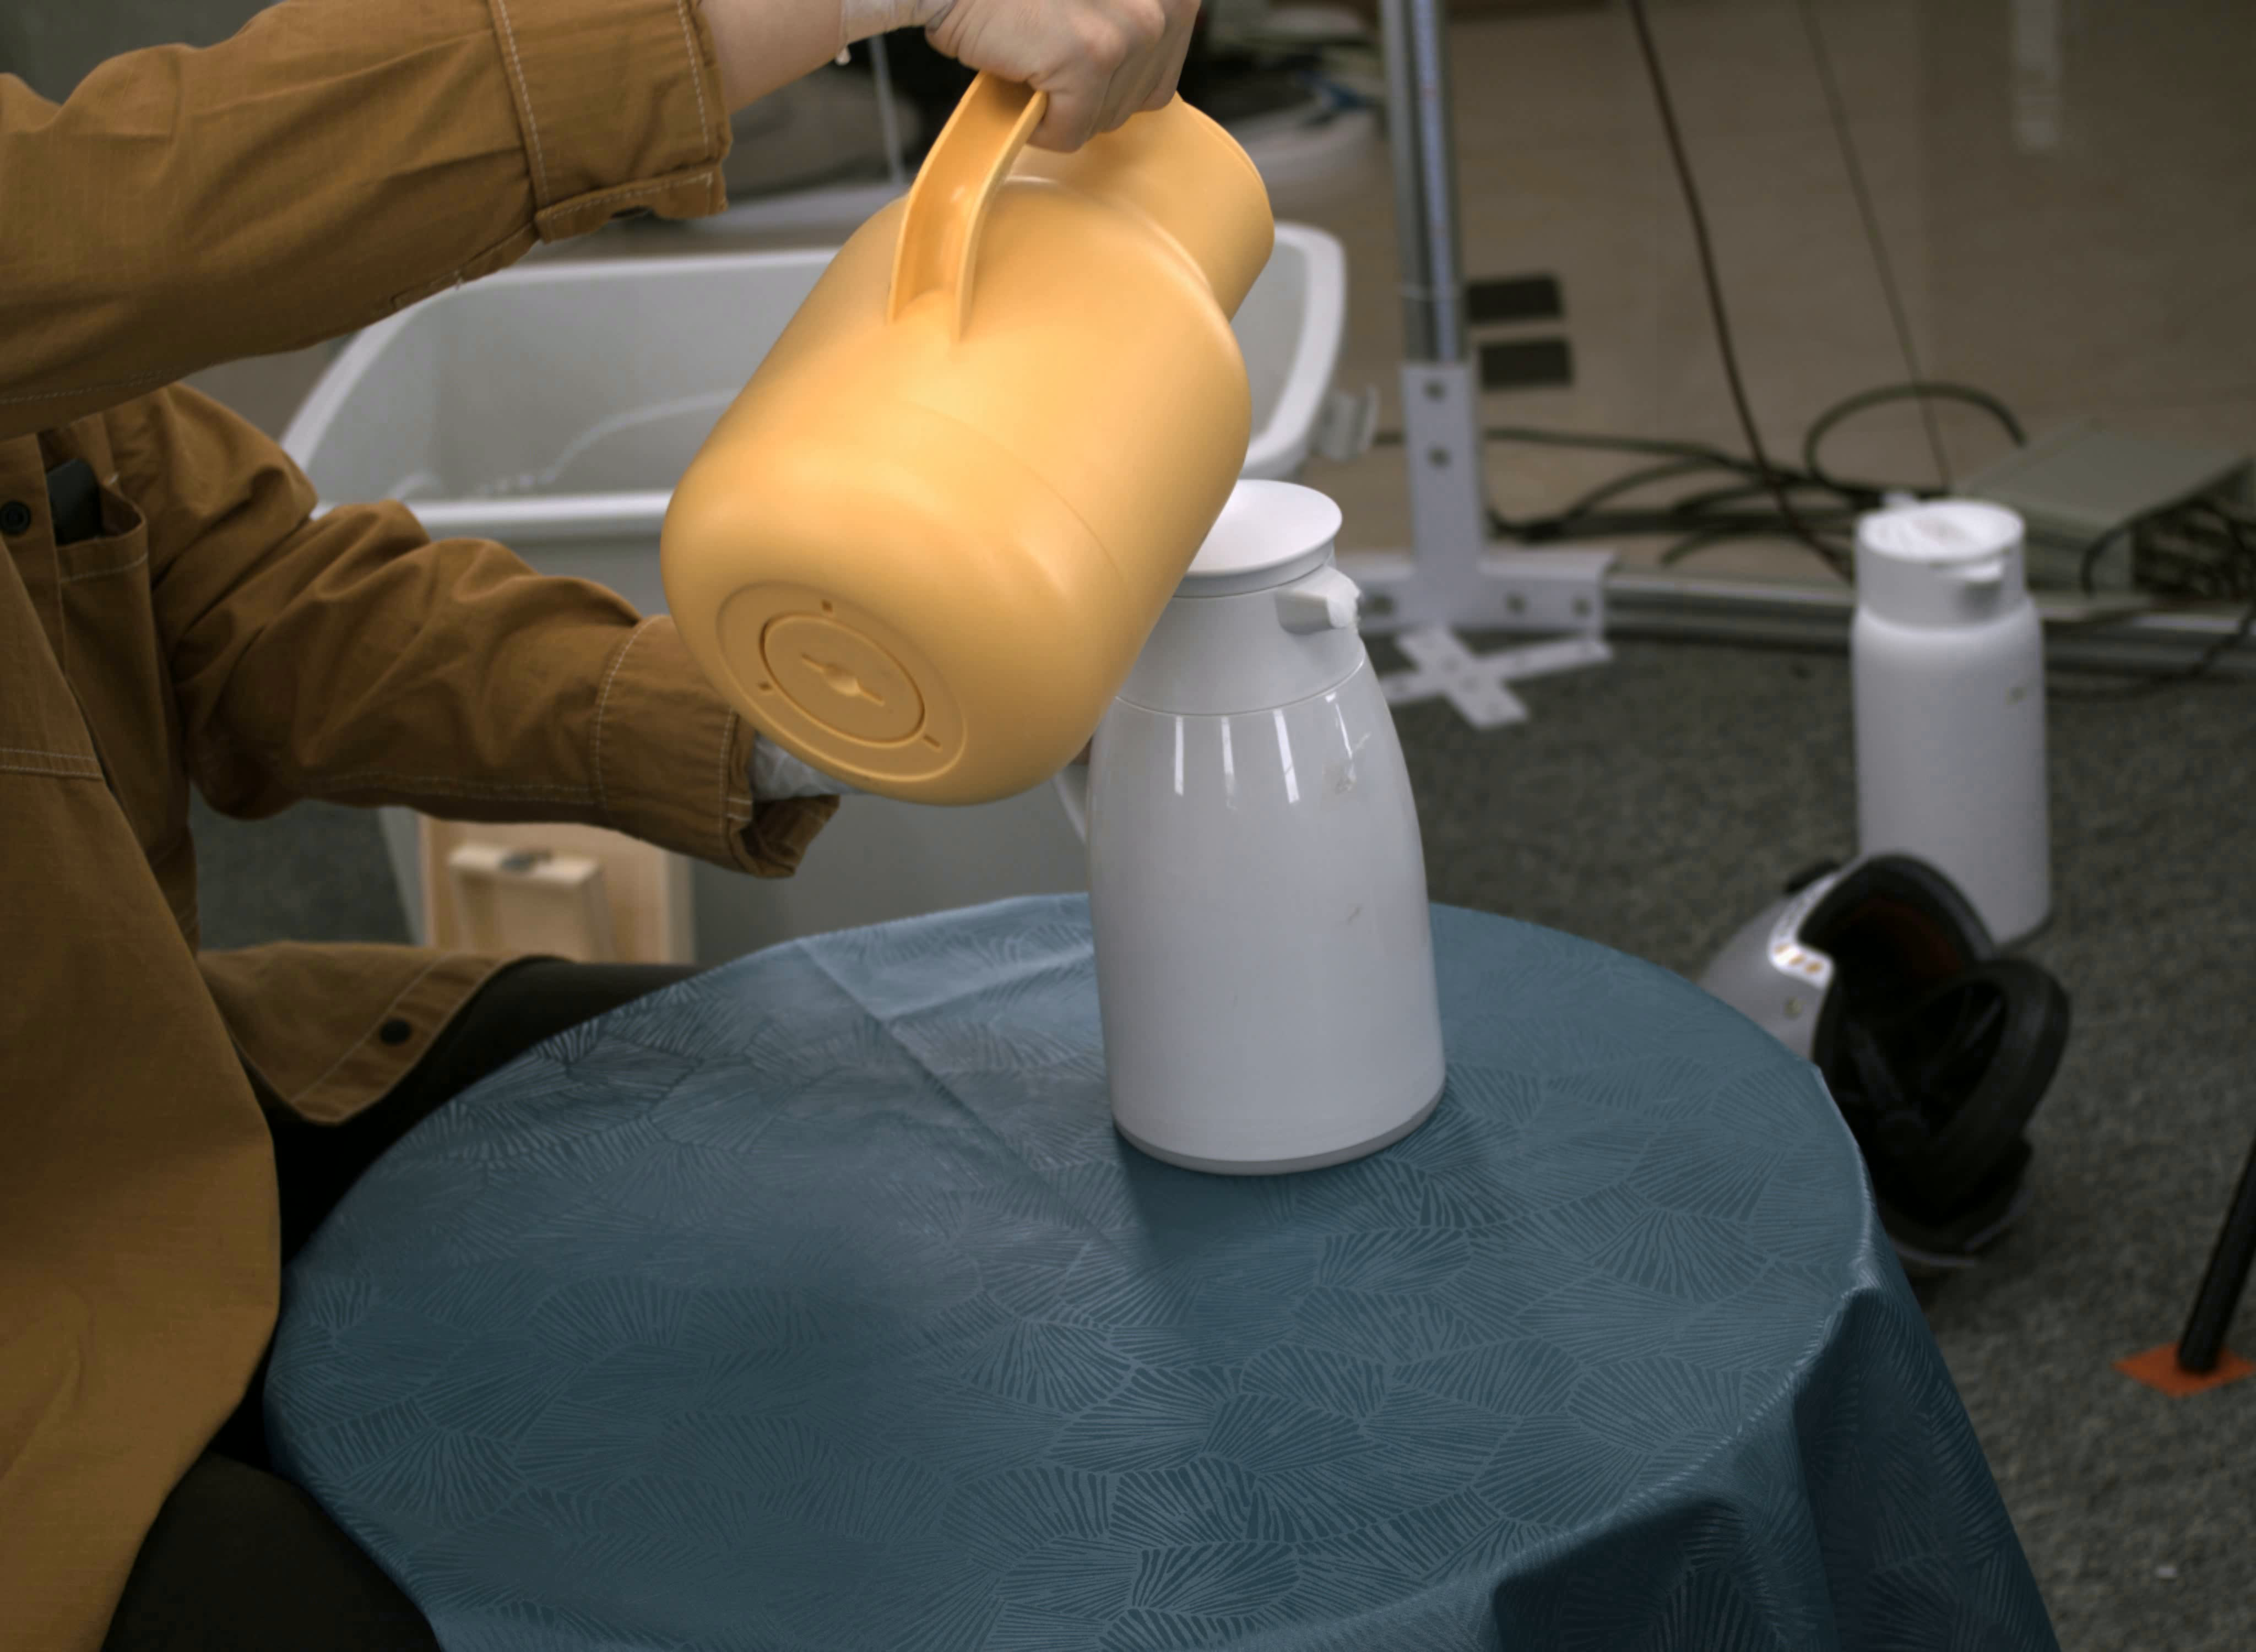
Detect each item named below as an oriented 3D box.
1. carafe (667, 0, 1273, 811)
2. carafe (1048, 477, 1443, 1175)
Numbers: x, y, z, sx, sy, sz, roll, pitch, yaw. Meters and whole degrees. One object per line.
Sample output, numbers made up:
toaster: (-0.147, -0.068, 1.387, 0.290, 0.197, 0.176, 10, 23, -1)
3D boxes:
carafe: (-0.044, -0.153, 1.931, 0.162, 0.206, 0.256, 13, 55, 22)
carafe: (0.031, -0.011, 2.164, 0.166, 0.252, 0.131, 17, 34, 40)
